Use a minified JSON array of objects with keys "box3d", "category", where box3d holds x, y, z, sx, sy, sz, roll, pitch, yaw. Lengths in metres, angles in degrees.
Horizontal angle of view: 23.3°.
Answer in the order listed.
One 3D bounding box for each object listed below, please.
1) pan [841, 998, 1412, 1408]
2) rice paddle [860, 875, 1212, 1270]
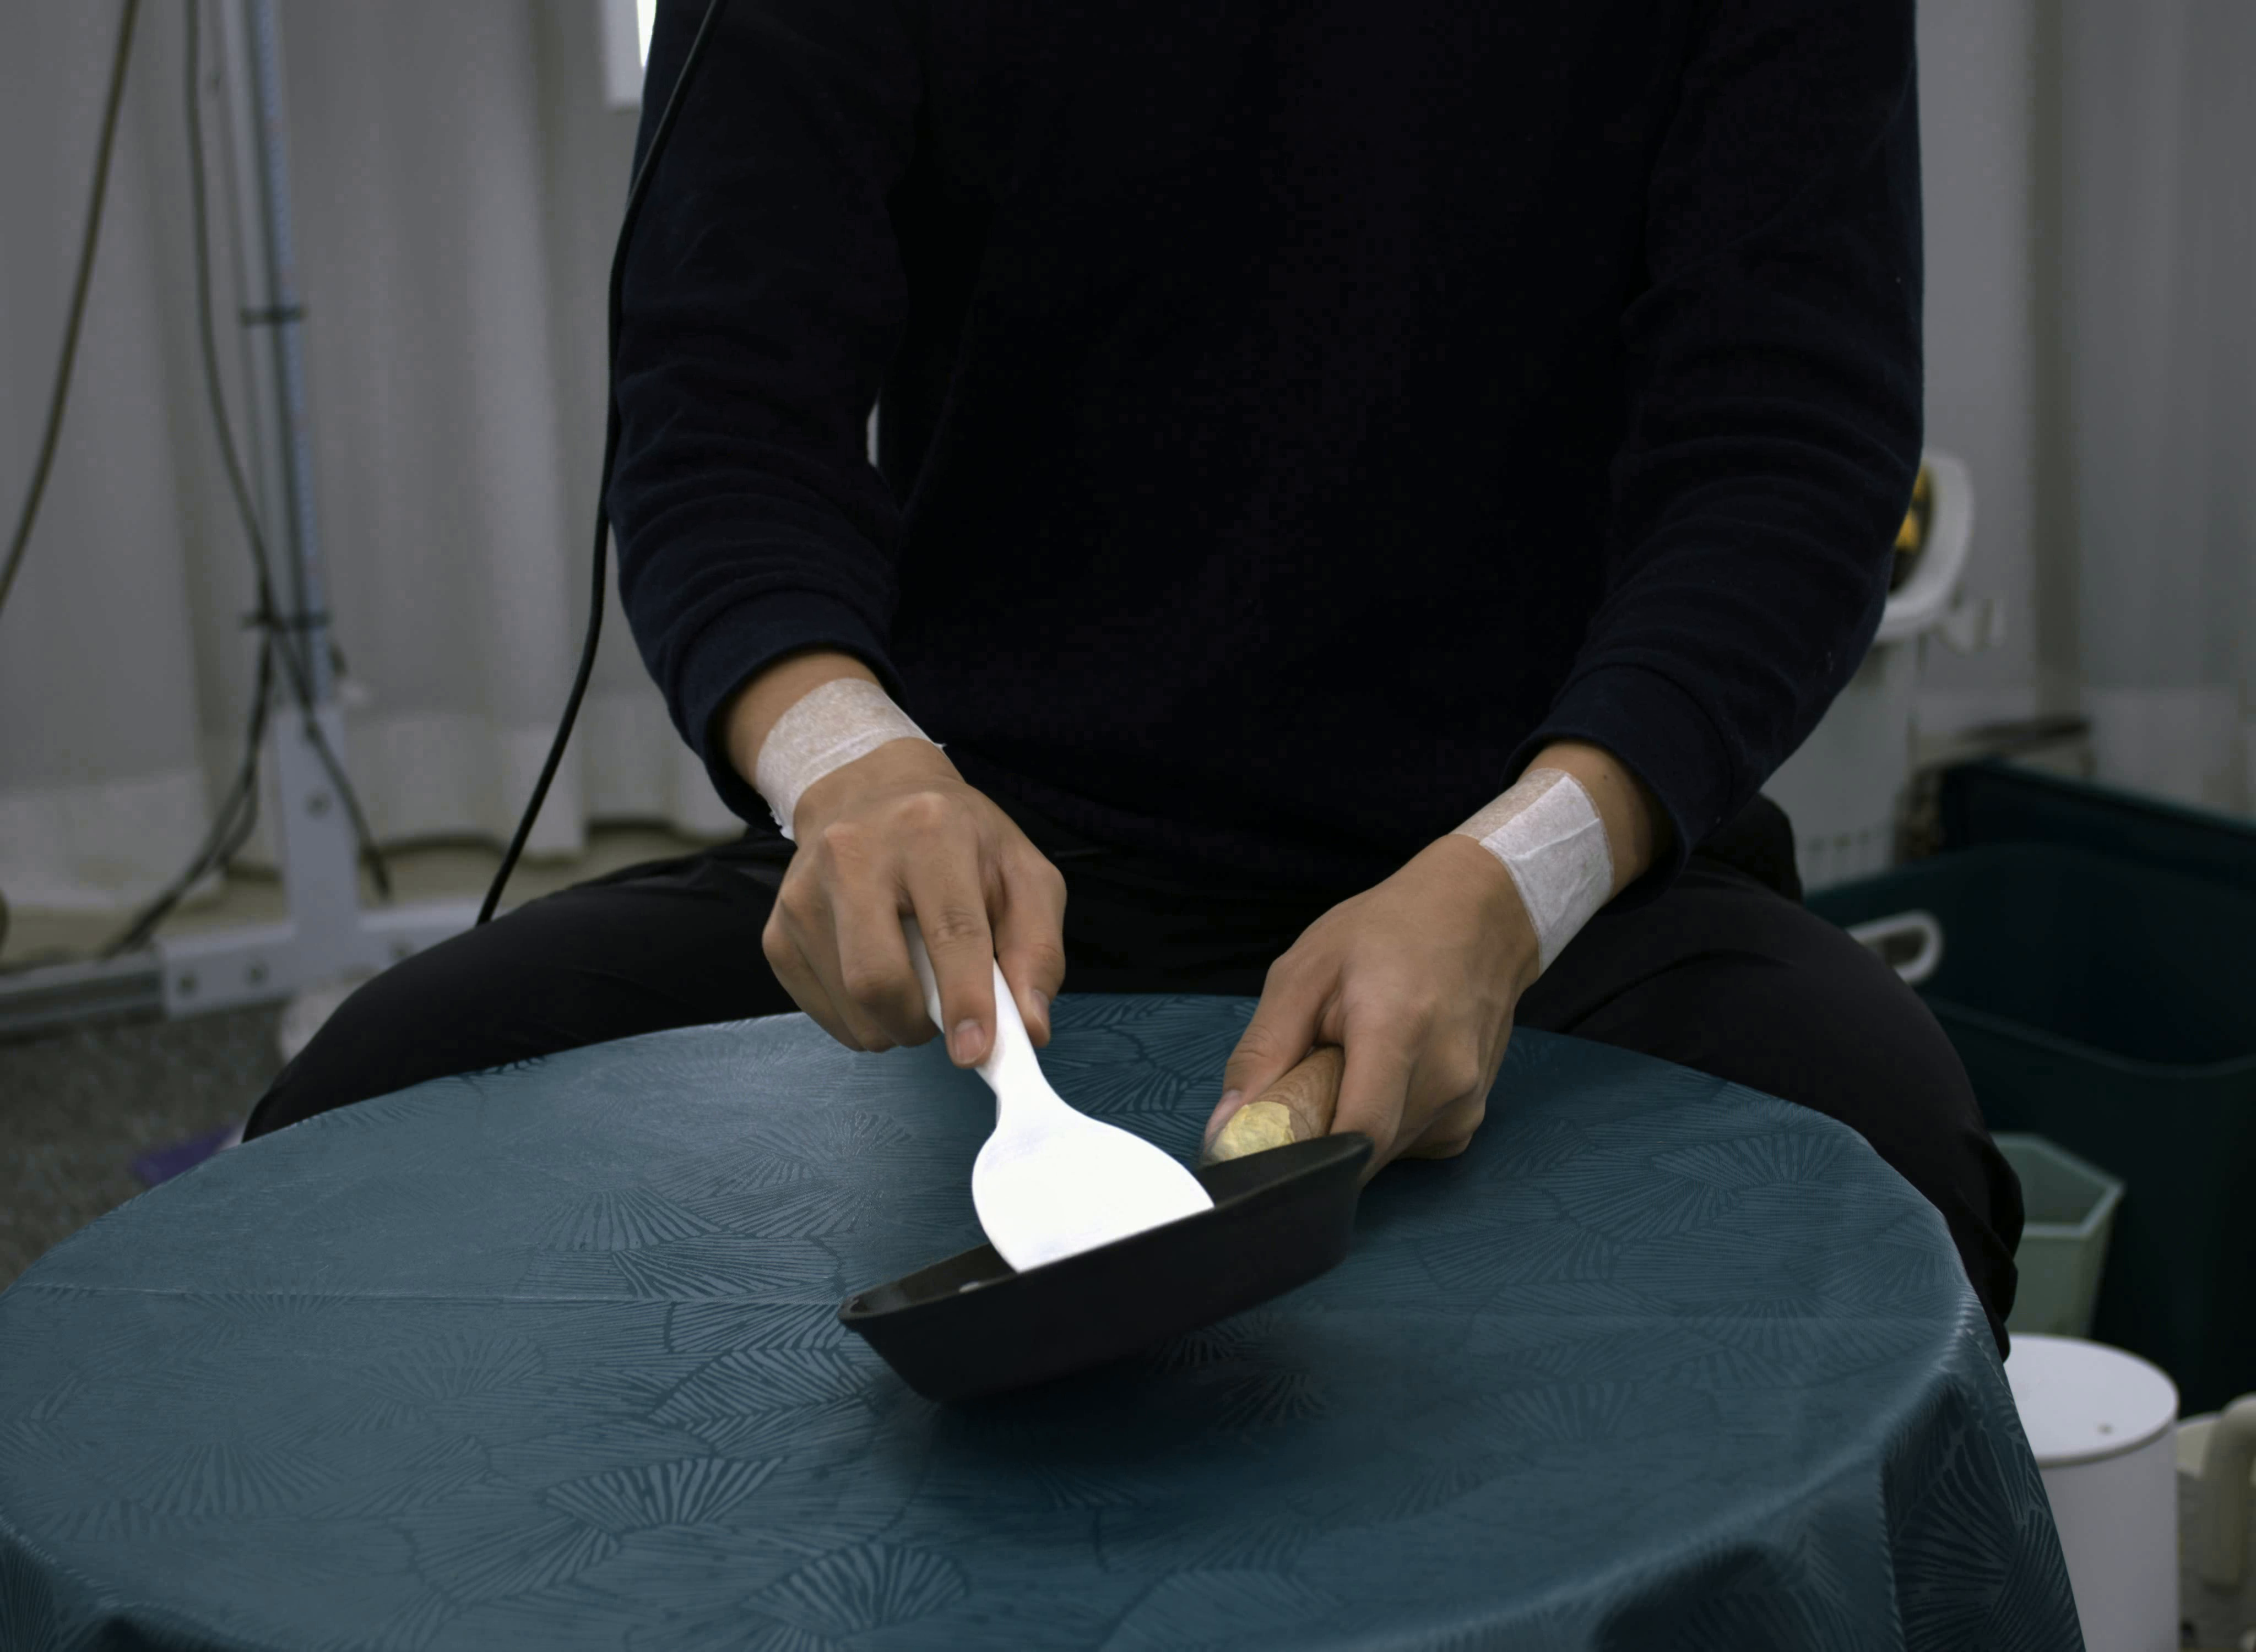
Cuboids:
[{"box3d":[0.030,0.106,1.608,0.168,0.049,0.324,-19,2,26],"category":"pan"},{"box3d":[-0.029,0.080,1.602,0.068,0.029,0.208,-9,34,-21],"category":"rice paddle"}]
